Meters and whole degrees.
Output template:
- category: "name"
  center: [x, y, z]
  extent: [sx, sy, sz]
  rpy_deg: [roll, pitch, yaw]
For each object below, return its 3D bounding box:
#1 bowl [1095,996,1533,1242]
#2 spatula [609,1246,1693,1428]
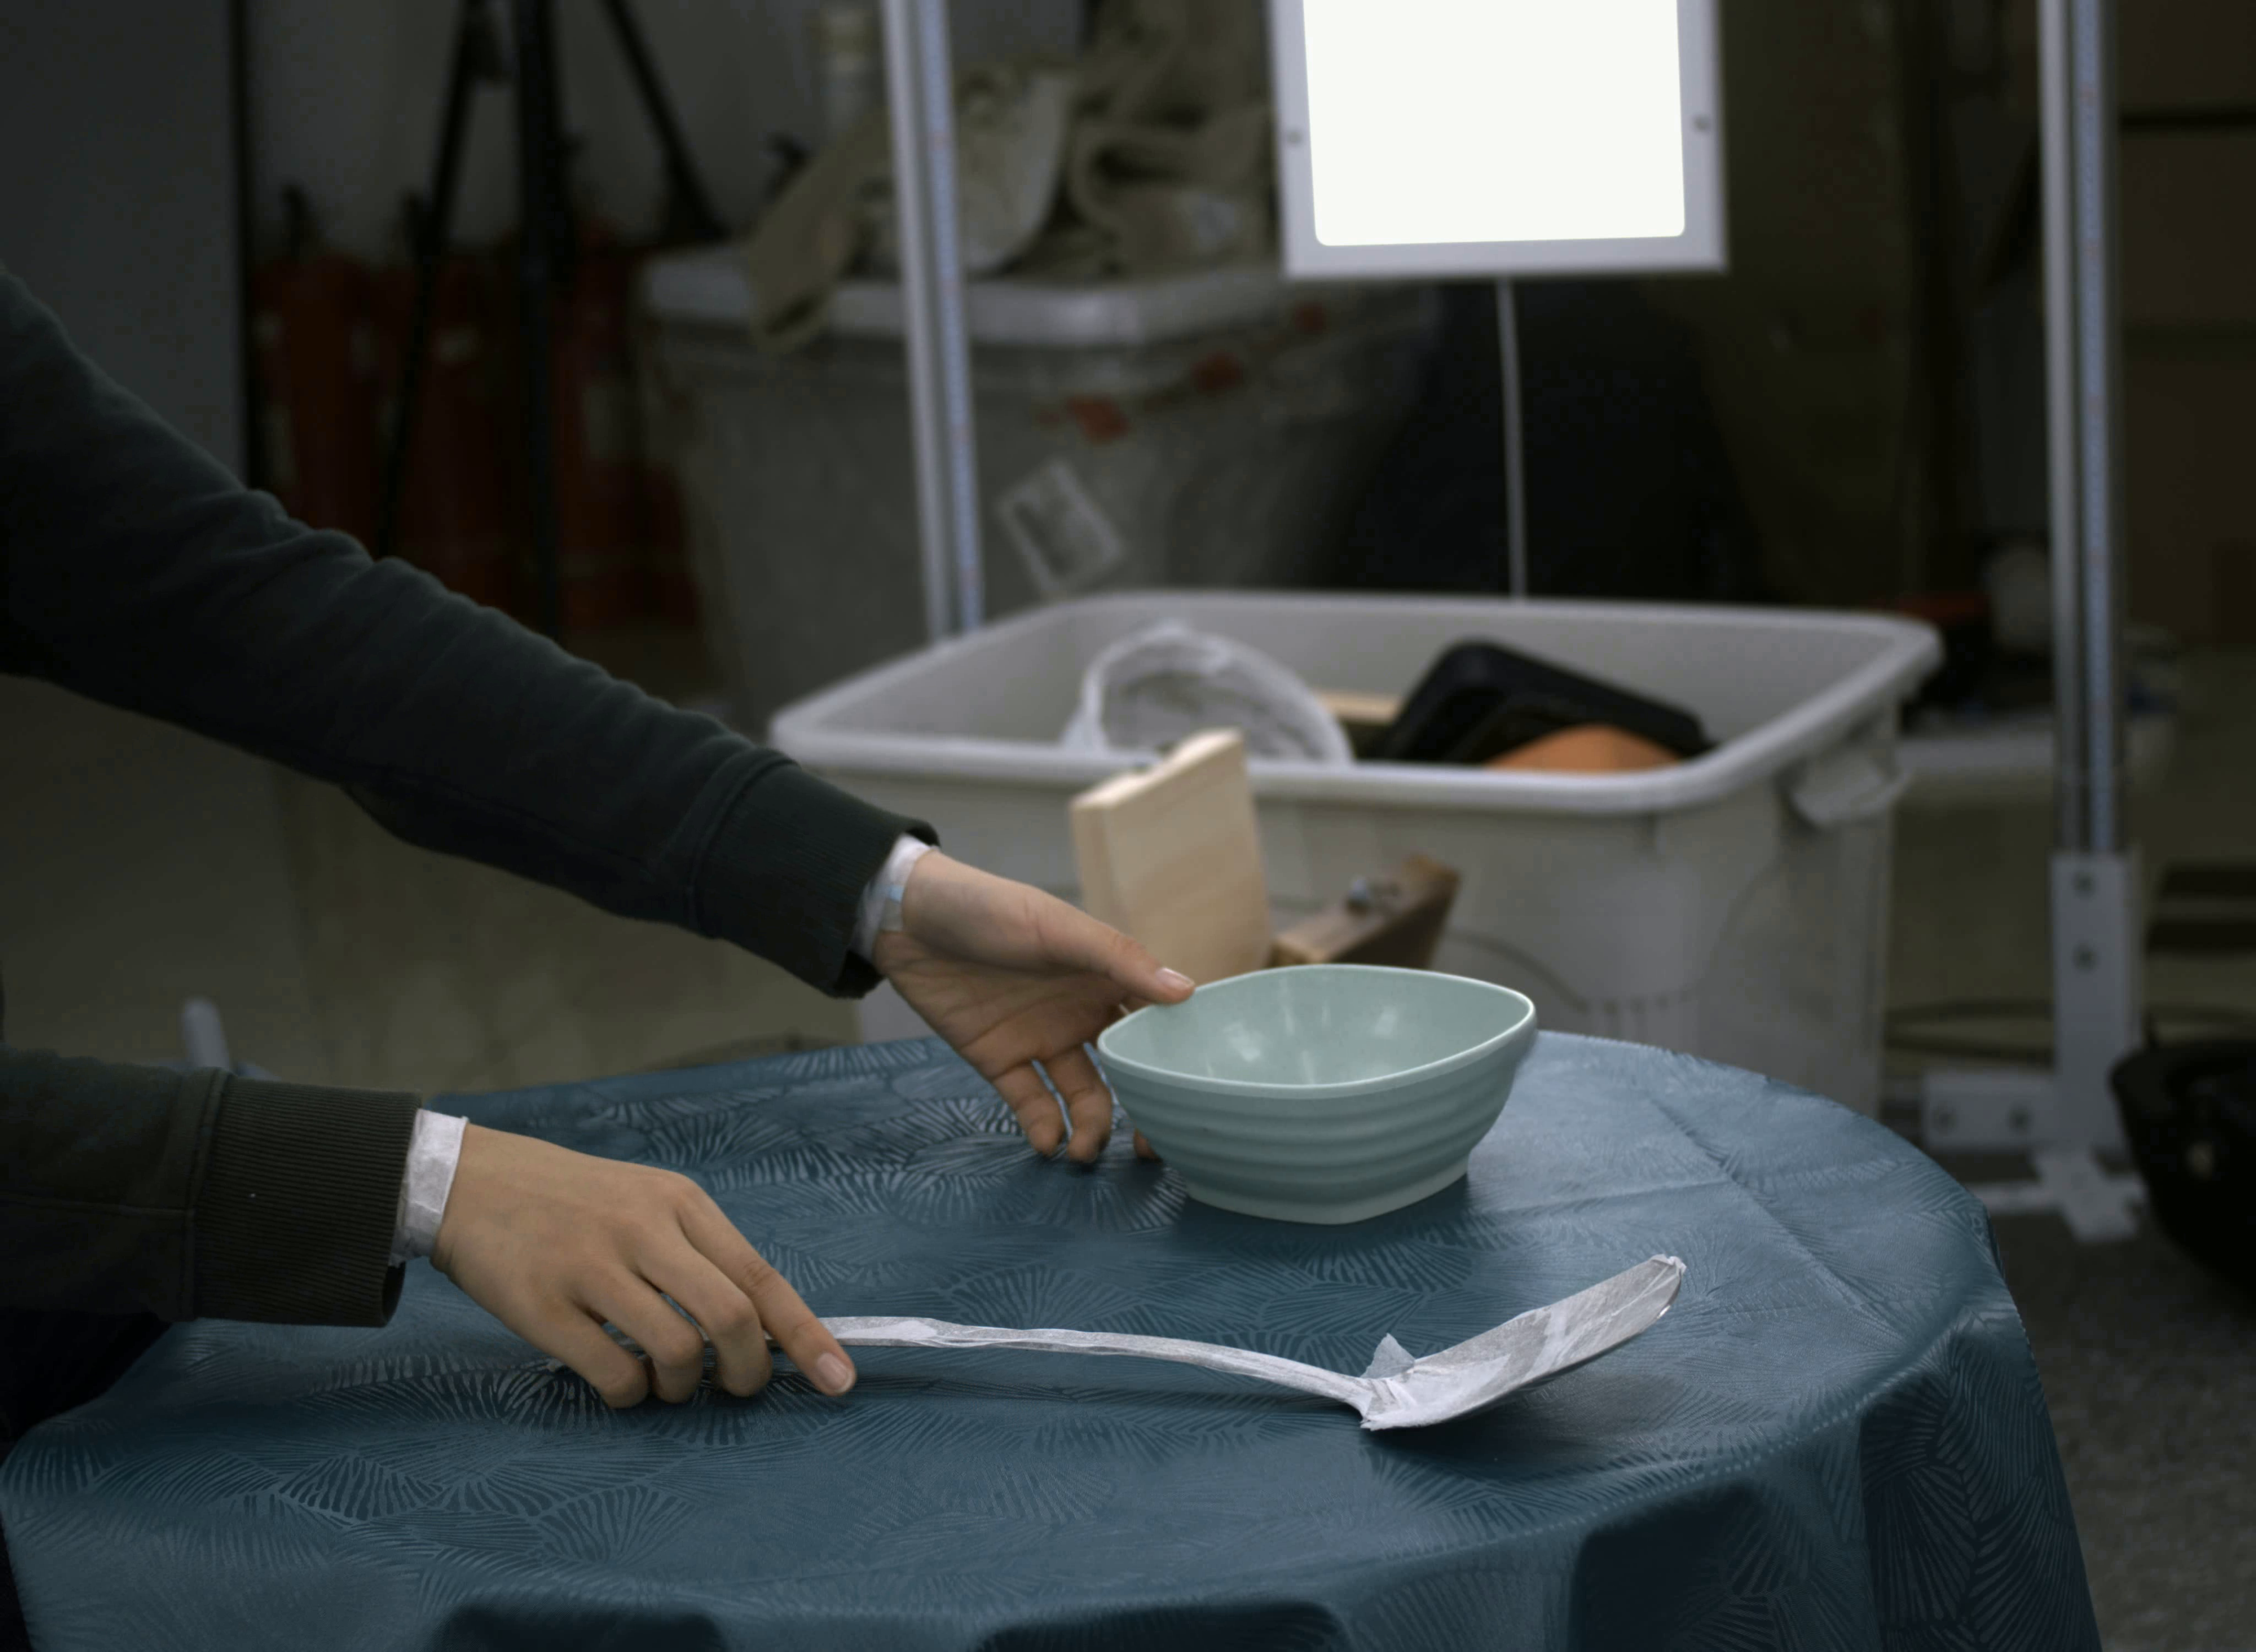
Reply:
- category: "bowl"
  center: [0.067, 0.102, 1.880]
  extent: [0.151, 0.059, 0.151]
  rpy_deg: [-8, 10, 0]
- category: "spatula"
  center: [-0.004, 0.155, 1.701]
  extent: [0.370, 0.045, 0.097]
  rpy_deg: [1, 17, 23]
